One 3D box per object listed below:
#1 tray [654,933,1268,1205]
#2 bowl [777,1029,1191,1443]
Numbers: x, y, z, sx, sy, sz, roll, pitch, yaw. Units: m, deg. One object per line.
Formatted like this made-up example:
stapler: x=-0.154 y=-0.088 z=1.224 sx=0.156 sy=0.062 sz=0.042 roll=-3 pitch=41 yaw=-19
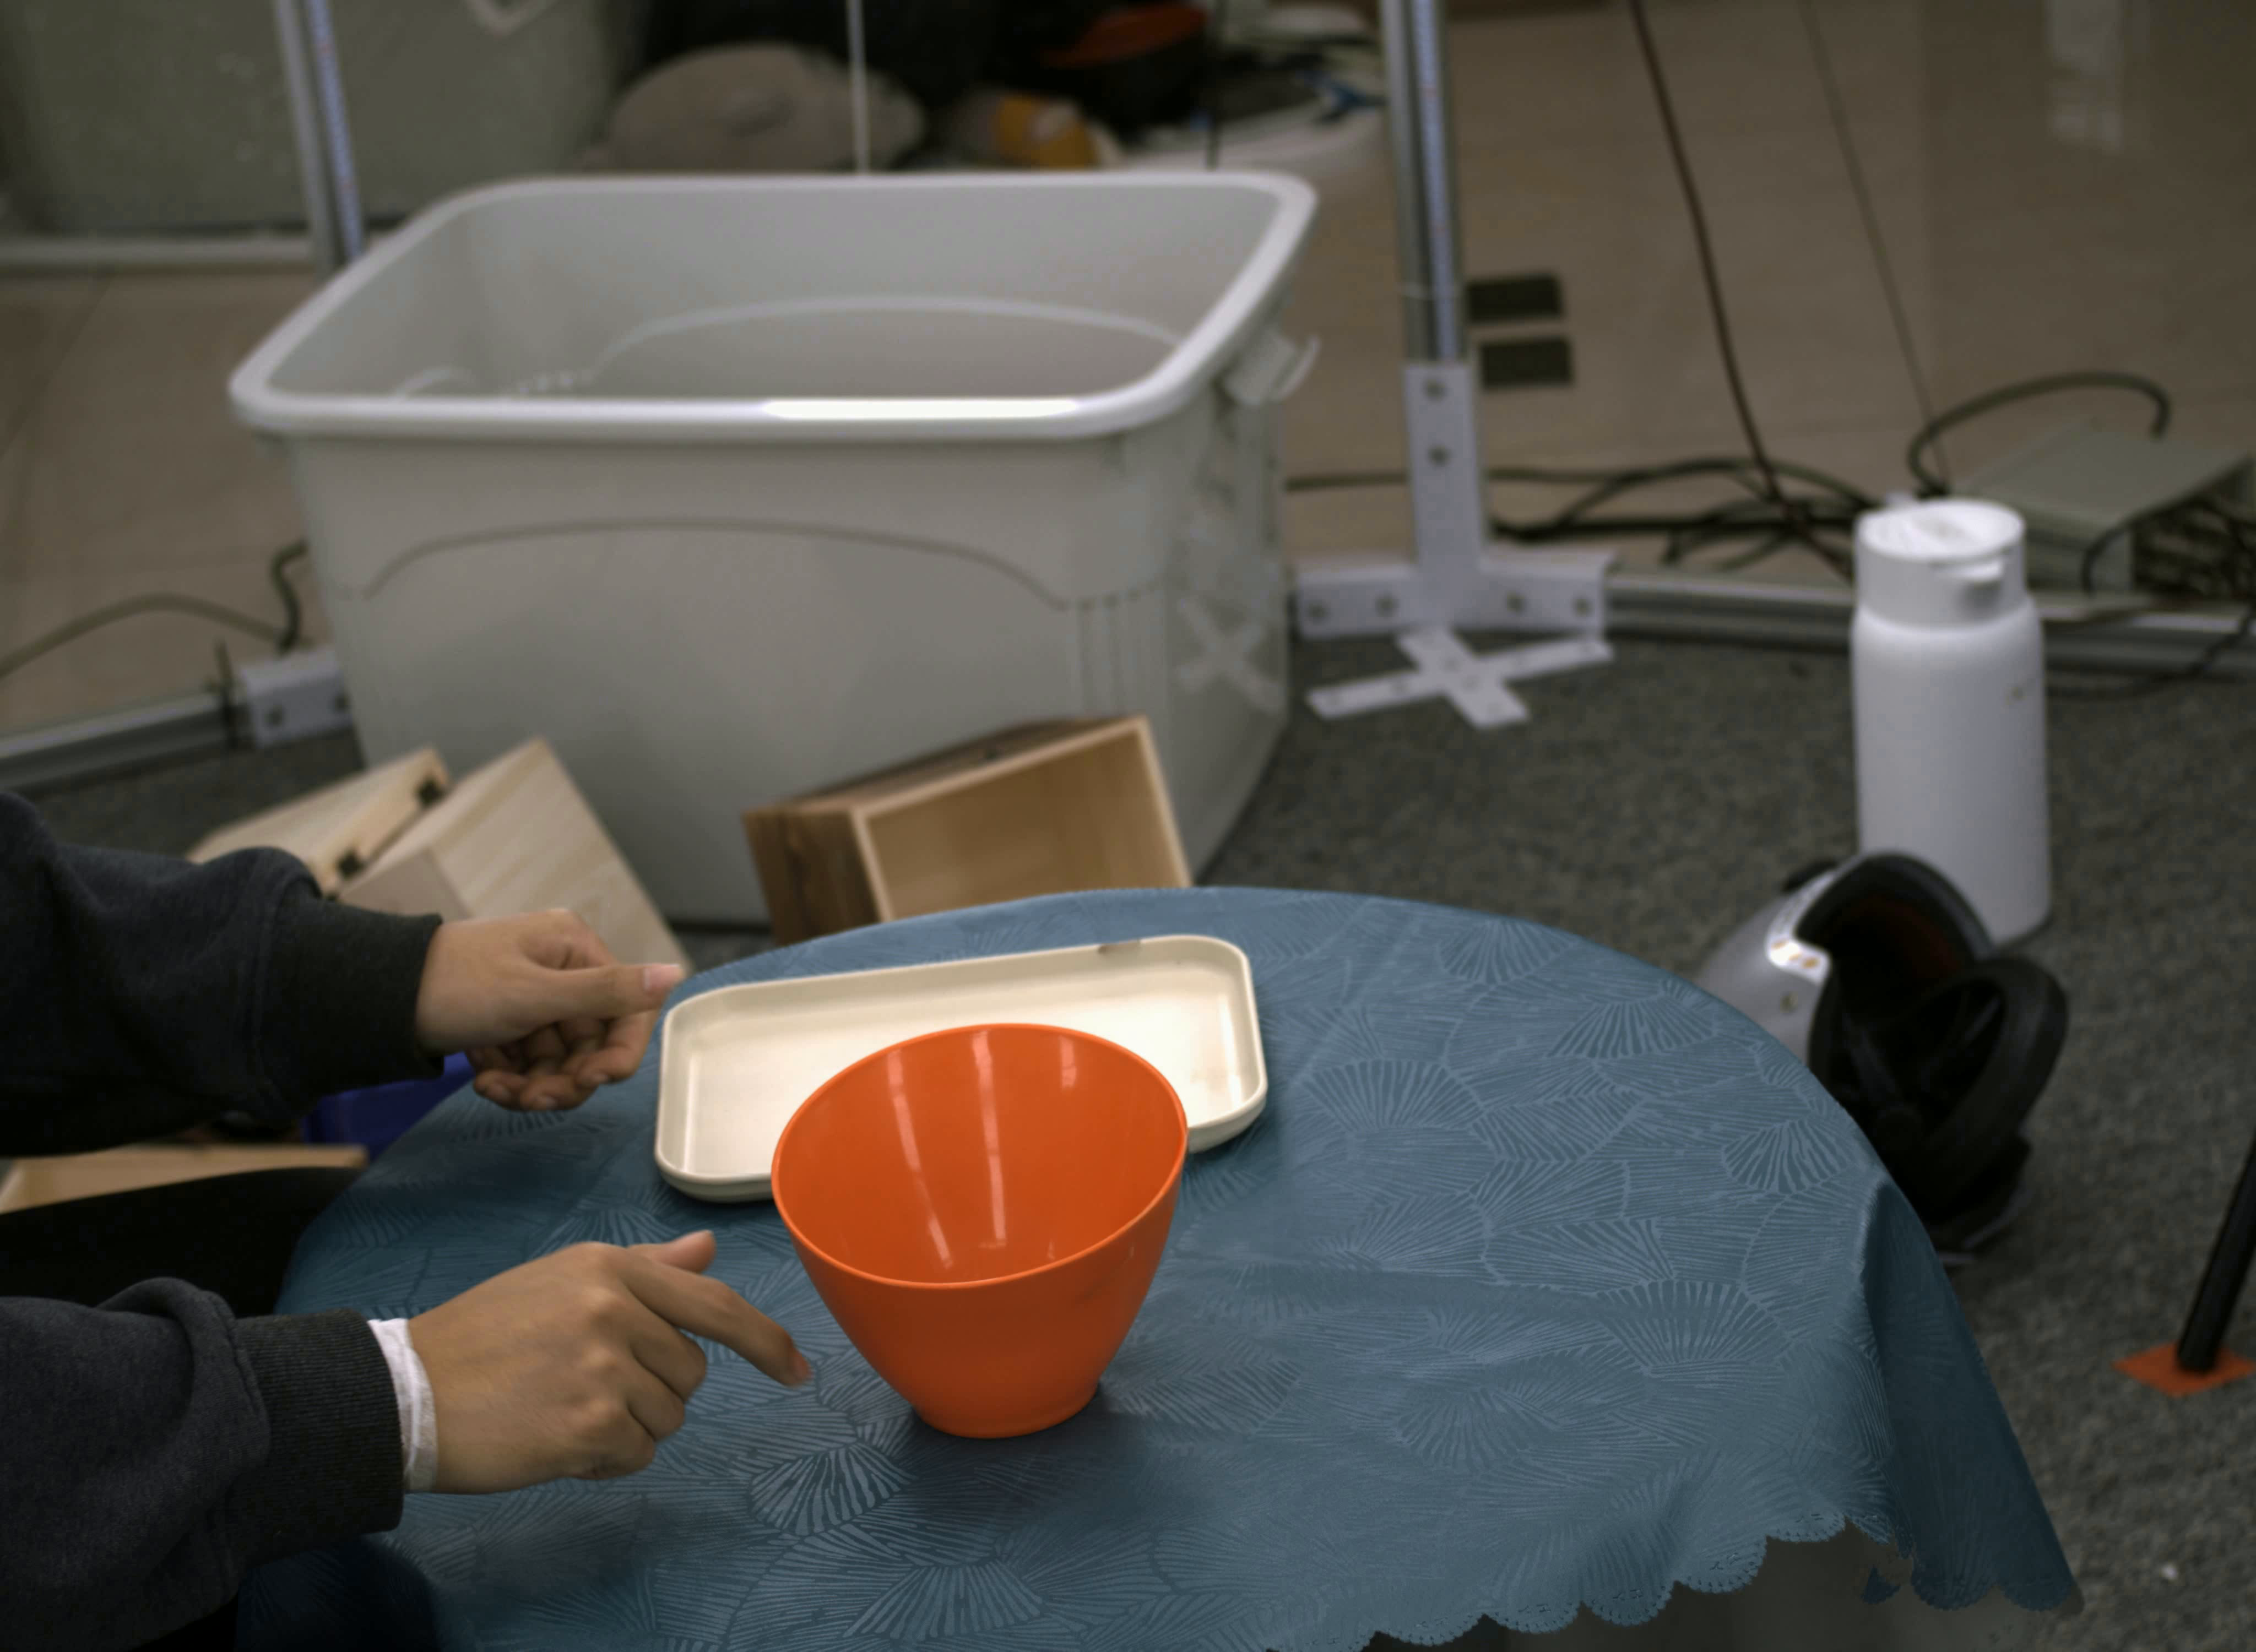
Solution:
tray: x=-0.067 y=0.096 z=2.234 sx=0.239 sy=0.018 sz=0.169 roll=-6 pitch=25 yaw=0
bowl: x=-0.047 y=0.152 z=2.011 sx=0.148 sy=0.106 sz=0.146 roll=-5 pitch=25 yaw=2
